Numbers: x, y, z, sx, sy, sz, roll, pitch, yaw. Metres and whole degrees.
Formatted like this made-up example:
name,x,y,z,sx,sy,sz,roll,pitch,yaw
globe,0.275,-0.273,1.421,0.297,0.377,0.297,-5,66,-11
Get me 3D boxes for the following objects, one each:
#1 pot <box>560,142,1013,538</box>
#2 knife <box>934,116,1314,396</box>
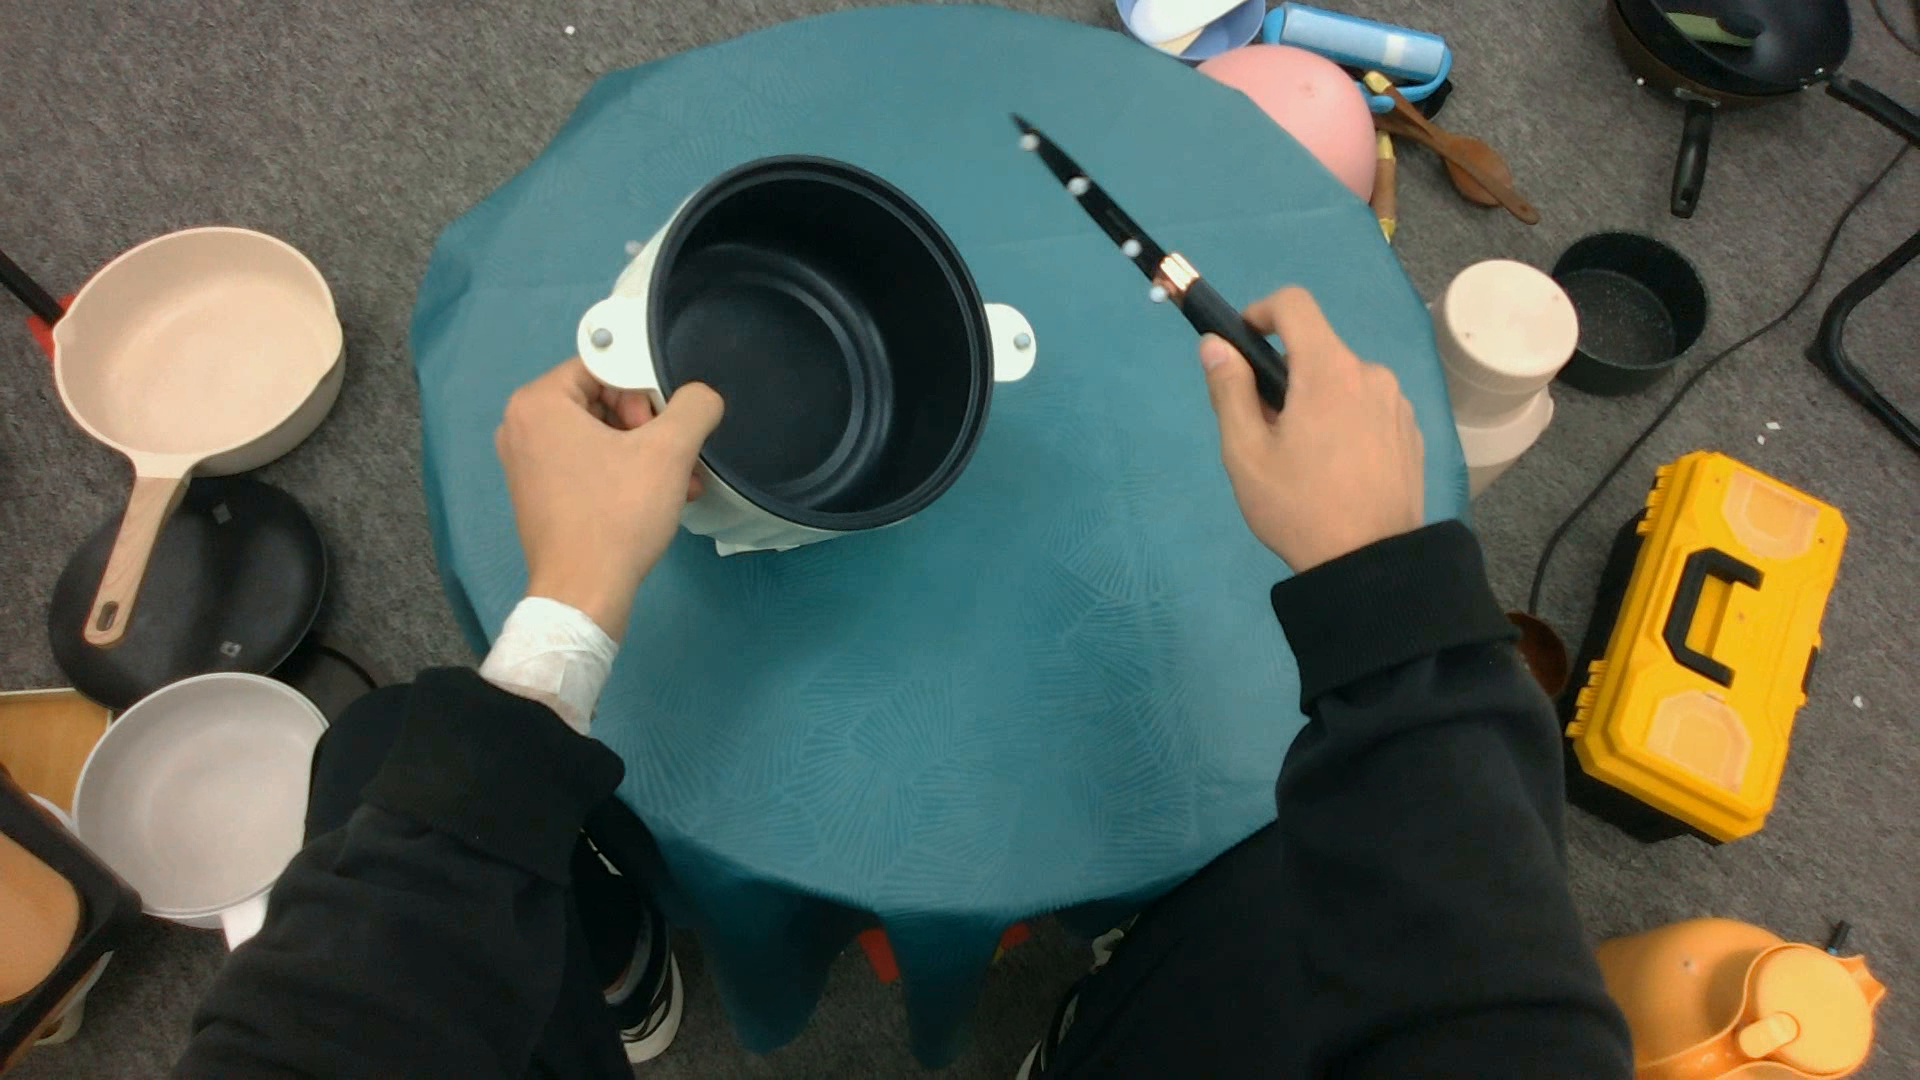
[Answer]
name,x,y,z,sx,sy,sz,roll,pitch,yaw
pot,-0.107,-0.099,0.704,0.241,0.142,0.190,-5,90,-36
knife,0.070,-0.136,0.632,0.225,0.026,0.017,40,83,15
